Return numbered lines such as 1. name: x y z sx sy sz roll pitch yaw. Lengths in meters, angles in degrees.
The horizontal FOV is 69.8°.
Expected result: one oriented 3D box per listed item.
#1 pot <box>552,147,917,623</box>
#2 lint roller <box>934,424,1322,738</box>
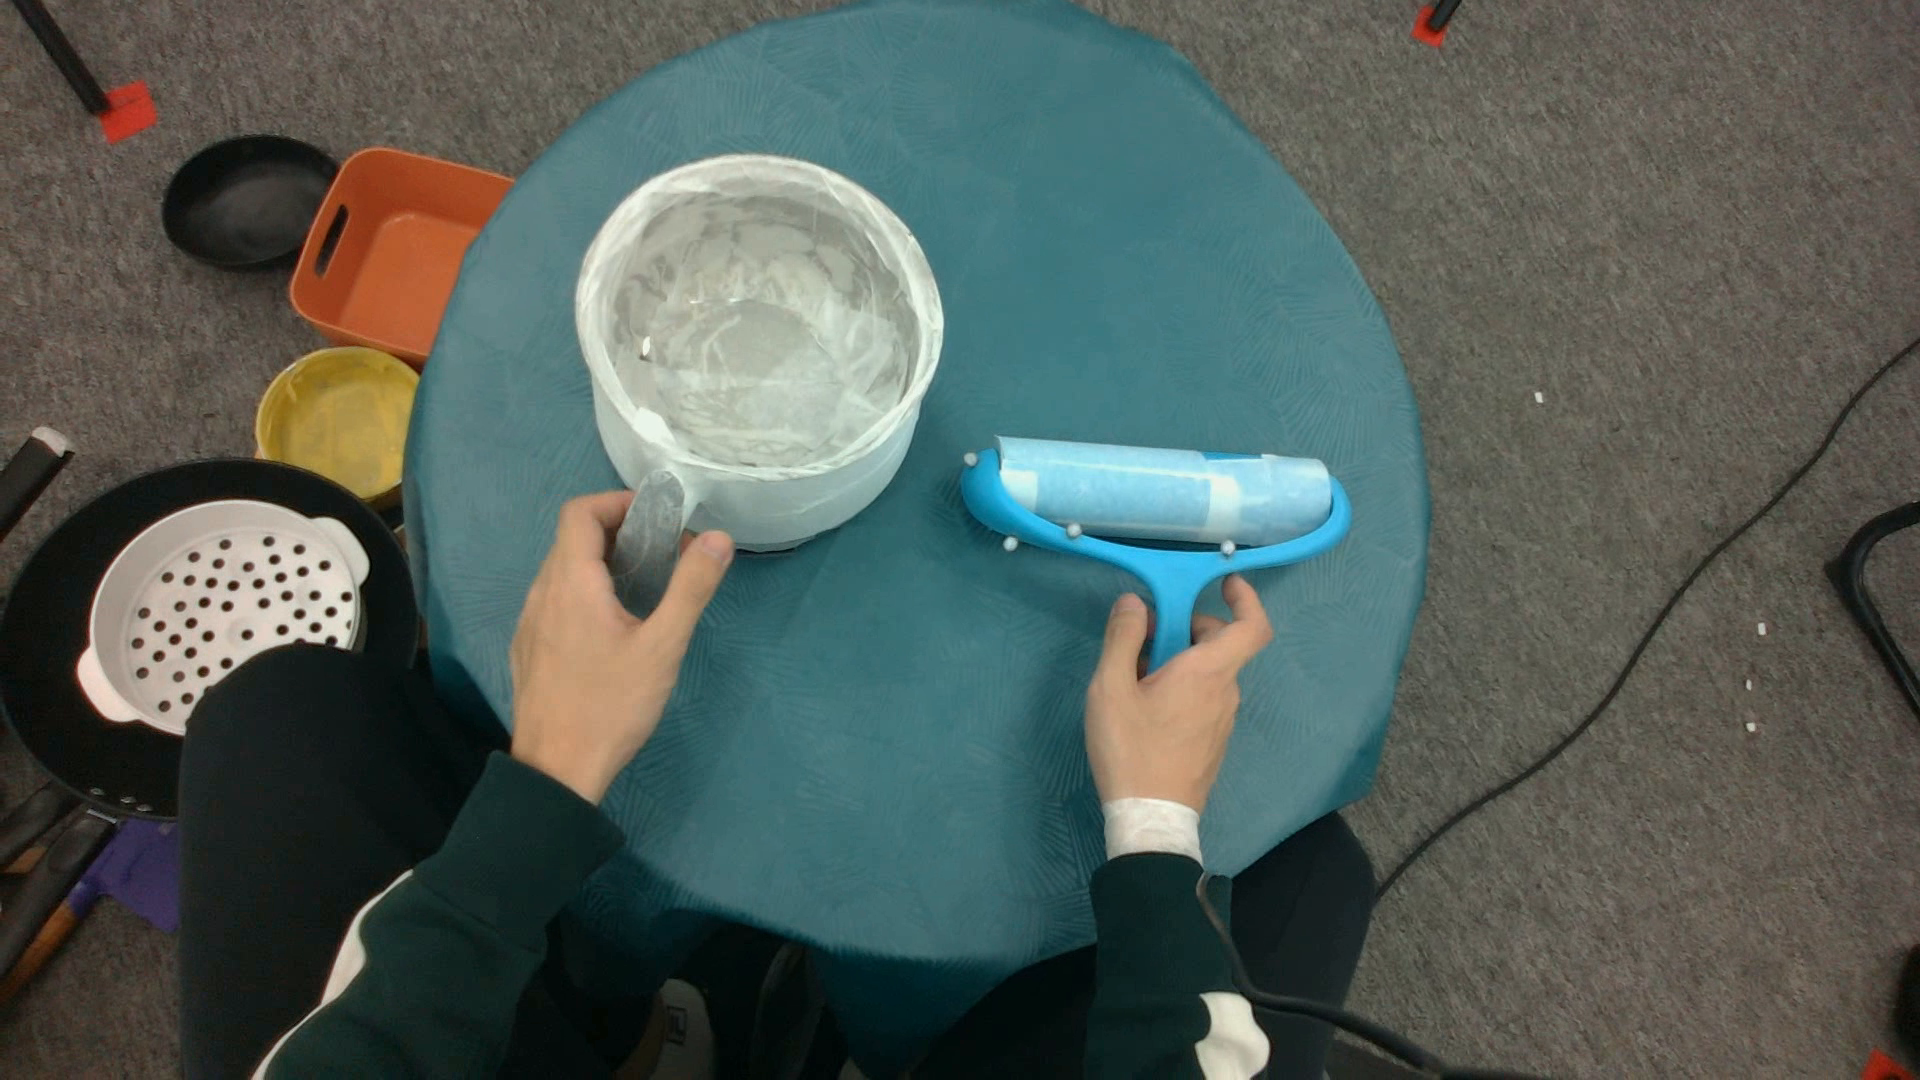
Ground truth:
1. pot: -0.129 -0.072 0.720 0.179 0.136 0.234 23 68 -2
2. lint roller: 0.104 0.017 0.779 0.229 0.067 0.180 -2 71 -13
